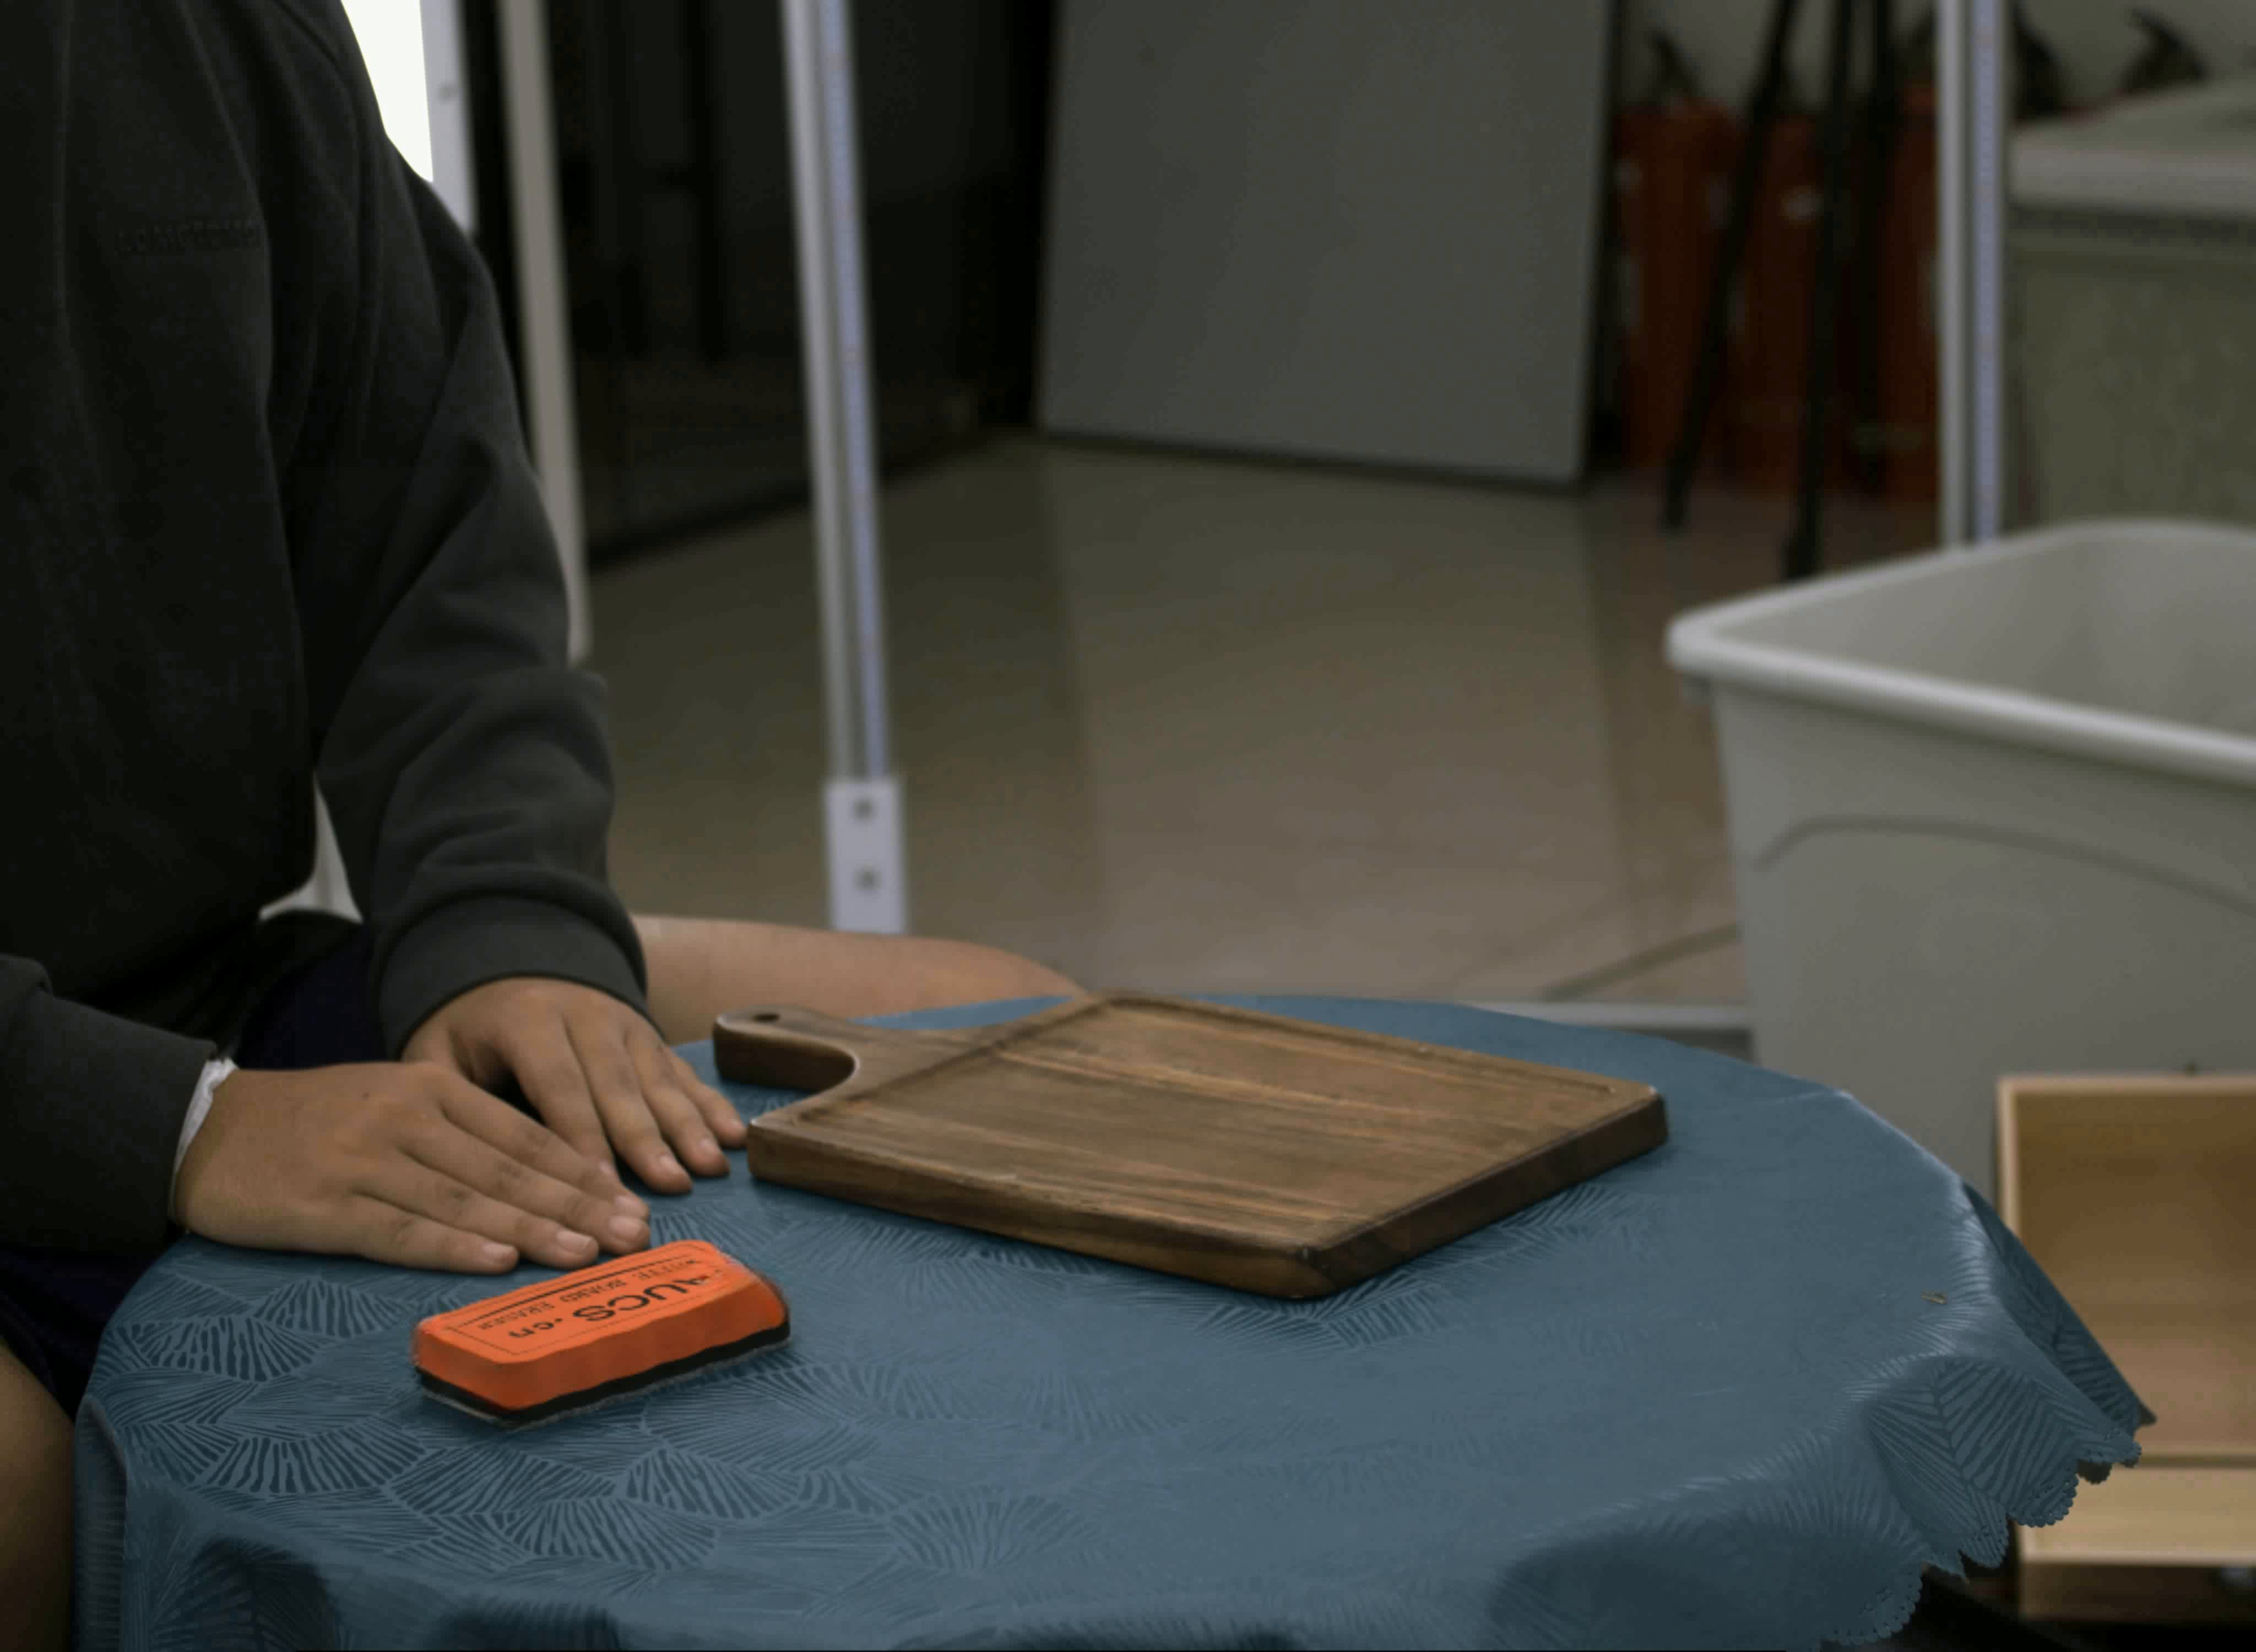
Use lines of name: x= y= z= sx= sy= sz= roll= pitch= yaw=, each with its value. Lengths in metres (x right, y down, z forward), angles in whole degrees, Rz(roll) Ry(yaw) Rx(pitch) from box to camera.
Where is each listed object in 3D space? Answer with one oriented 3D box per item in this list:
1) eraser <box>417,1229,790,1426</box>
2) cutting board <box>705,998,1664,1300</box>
eraser: x=-0.157 y=0.150 z=1.630 sx=0.106 sy=0.023 sz=0.059 roll=-16 pitch=19 yaw=-38
cutting board: x=-0.012 y=0.098 z=1.825 sx=0.355 sy=0.023 sz=0.197 roll=8 pitch=18 yaw=41
